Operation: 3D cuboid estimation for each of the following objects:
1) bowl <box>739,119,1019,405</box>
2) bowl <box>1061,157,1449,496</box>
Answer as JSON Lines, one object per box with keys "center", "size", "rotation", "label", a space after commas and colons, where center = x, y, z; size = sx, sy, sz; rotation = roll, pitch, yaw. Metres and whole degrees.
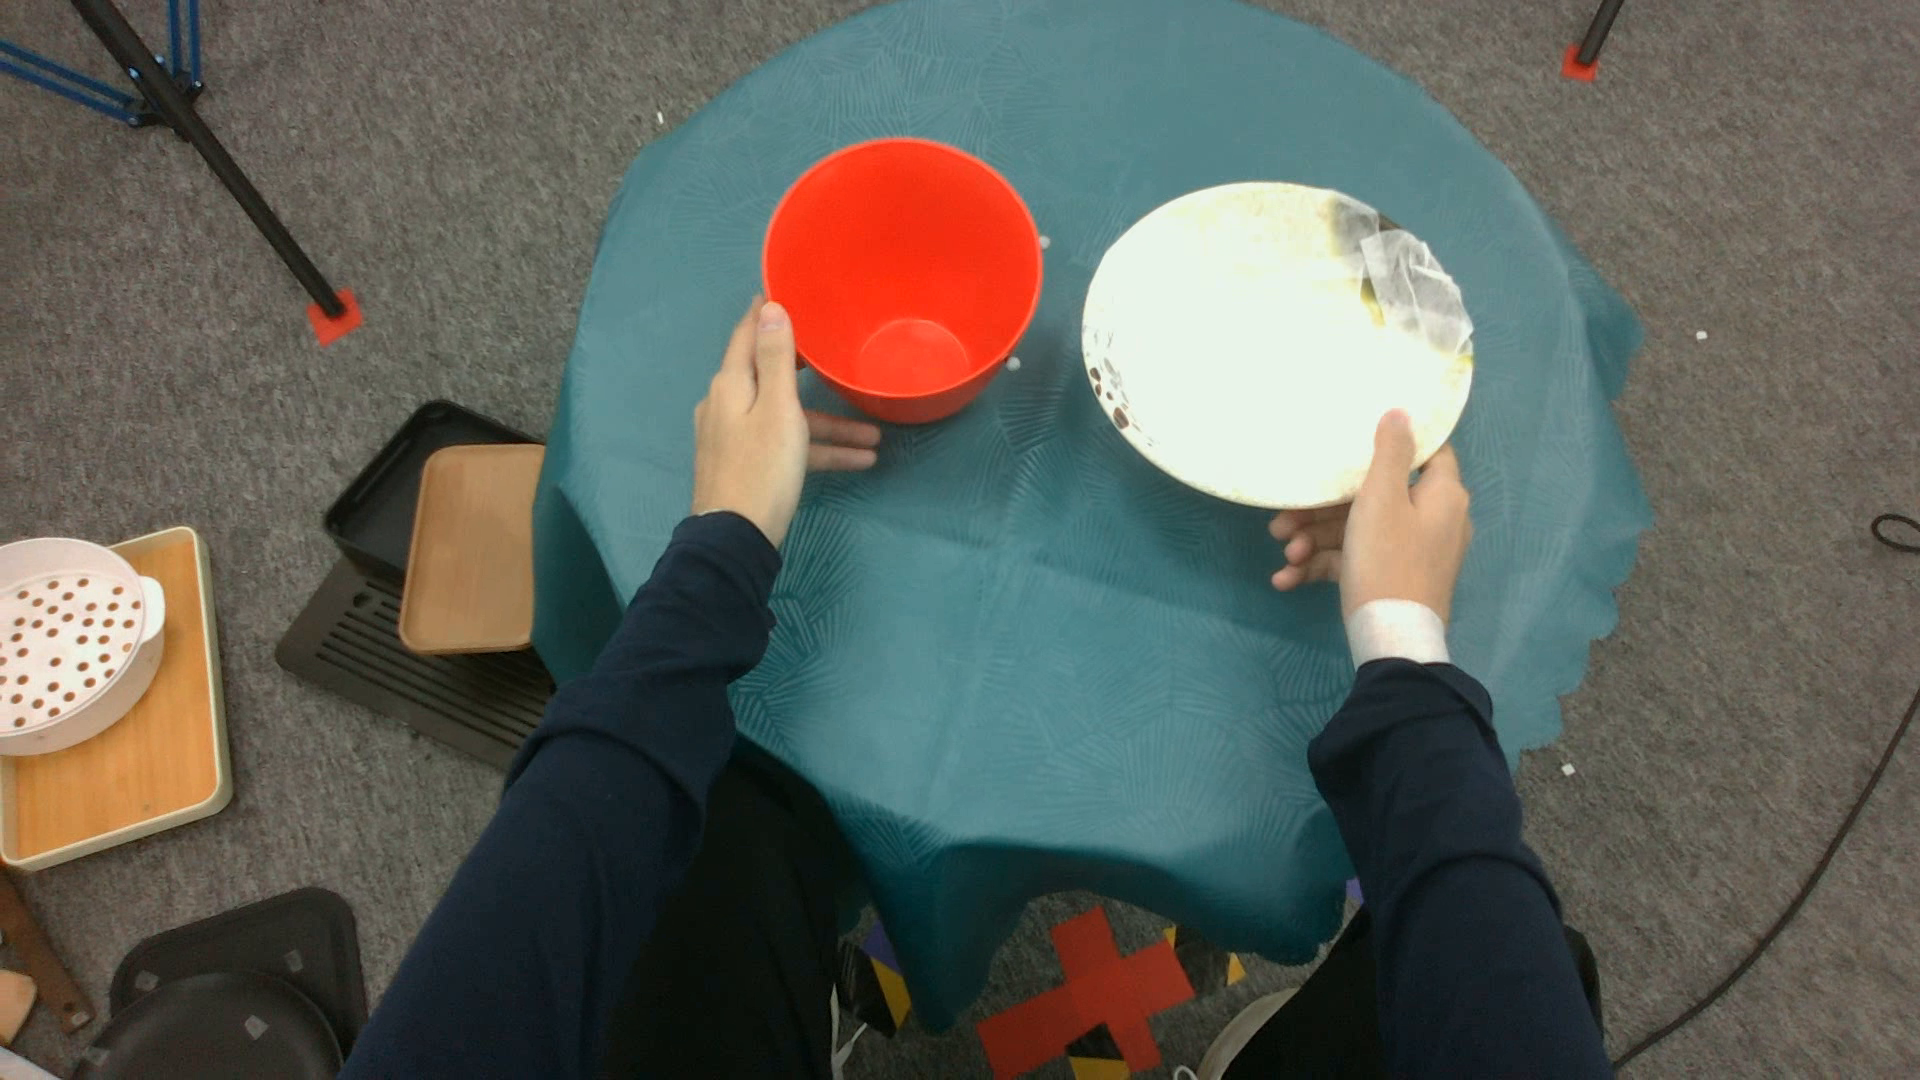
{"center": [-0.042, -0.140, 0.761], "size": [0.148, 0.104, 0.148], "rotation": [0, 67, 0], "label": "bowl"}
{"center": [0.157, -0.106, 0.763], "size": [0.204, 0.077, 0.204], "rotation": [-1, 69, 2], "label": "bowl"}
